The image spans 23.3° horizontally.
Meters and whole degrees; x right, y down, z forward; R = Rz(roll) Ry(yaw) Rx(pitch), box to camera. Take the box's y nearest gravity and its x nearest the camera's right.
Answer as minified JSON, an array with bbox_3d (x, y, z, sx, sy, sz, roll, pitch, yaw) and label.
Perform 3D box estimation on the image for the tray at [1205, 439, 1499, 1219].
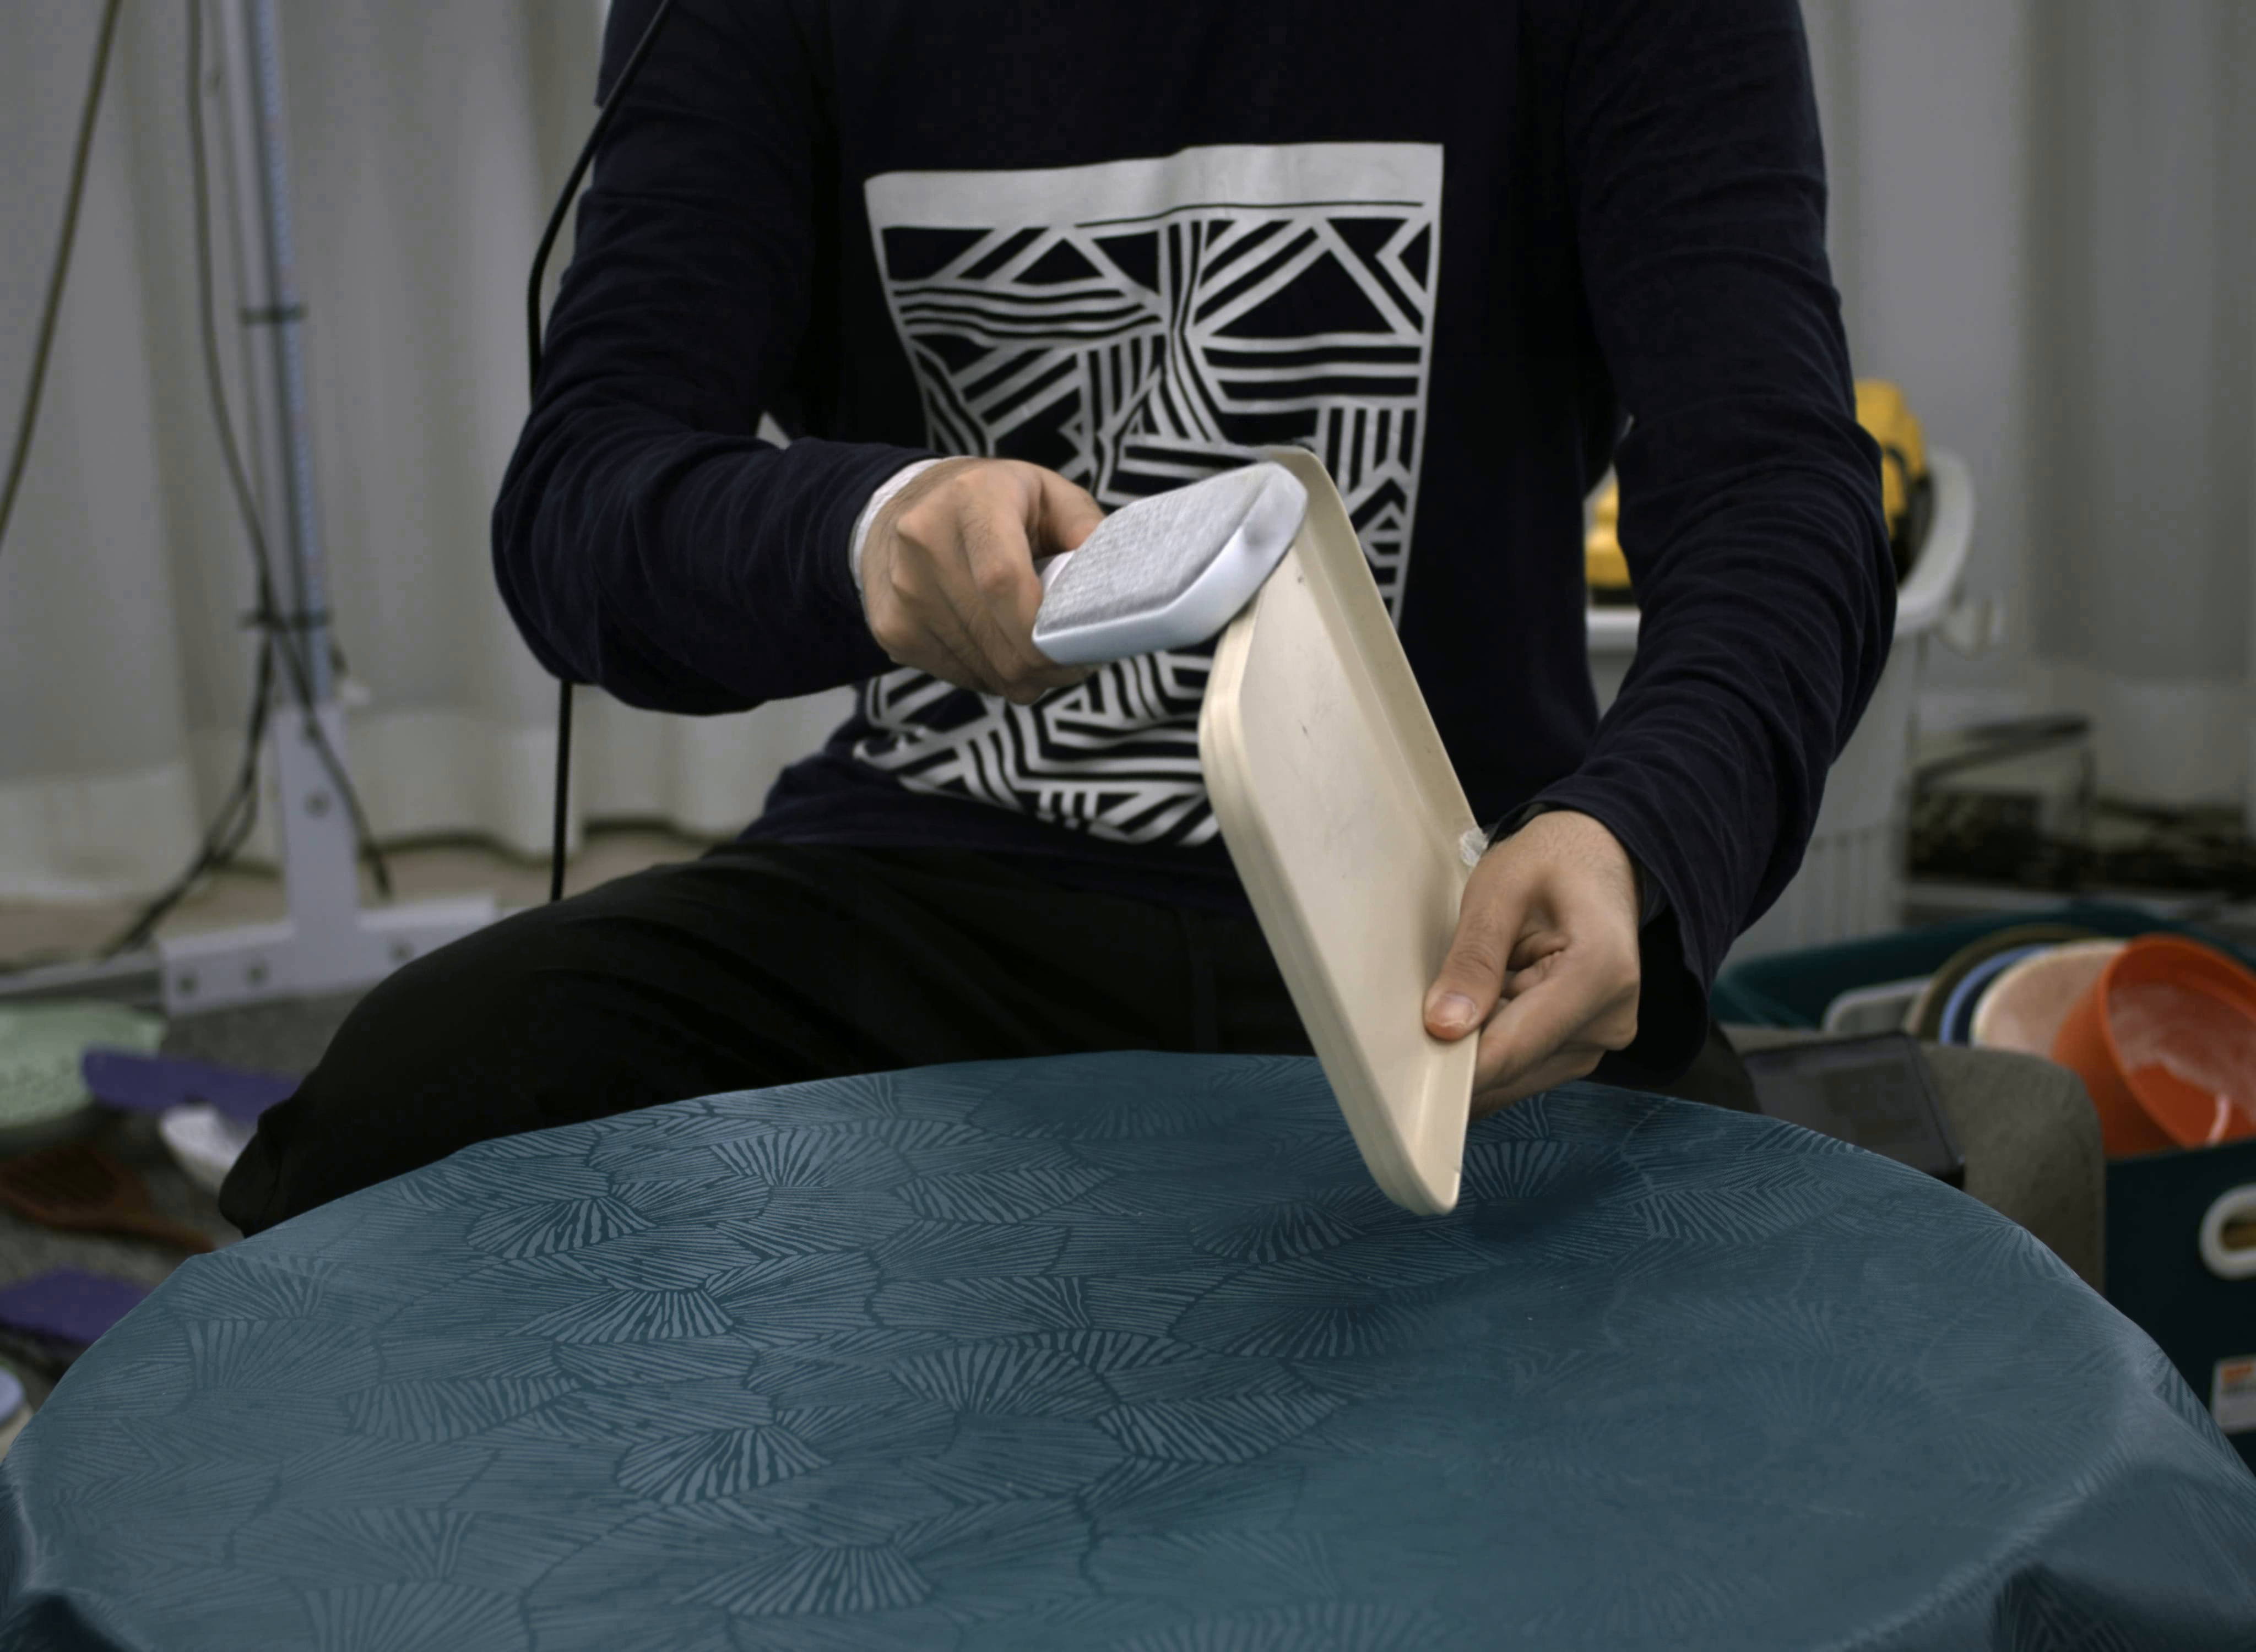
[{"bbox_3d":[0.066,-0.002,1.597,0.017,0.170,0.242,-19,21,15],"label":"tray"}]

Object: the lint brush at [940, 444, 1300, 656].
[{"bbox_3d":[-0.008,-0.079,1.681,0.021,0.060,0.309,33,-11,-13],"label":"lint brush"}]
